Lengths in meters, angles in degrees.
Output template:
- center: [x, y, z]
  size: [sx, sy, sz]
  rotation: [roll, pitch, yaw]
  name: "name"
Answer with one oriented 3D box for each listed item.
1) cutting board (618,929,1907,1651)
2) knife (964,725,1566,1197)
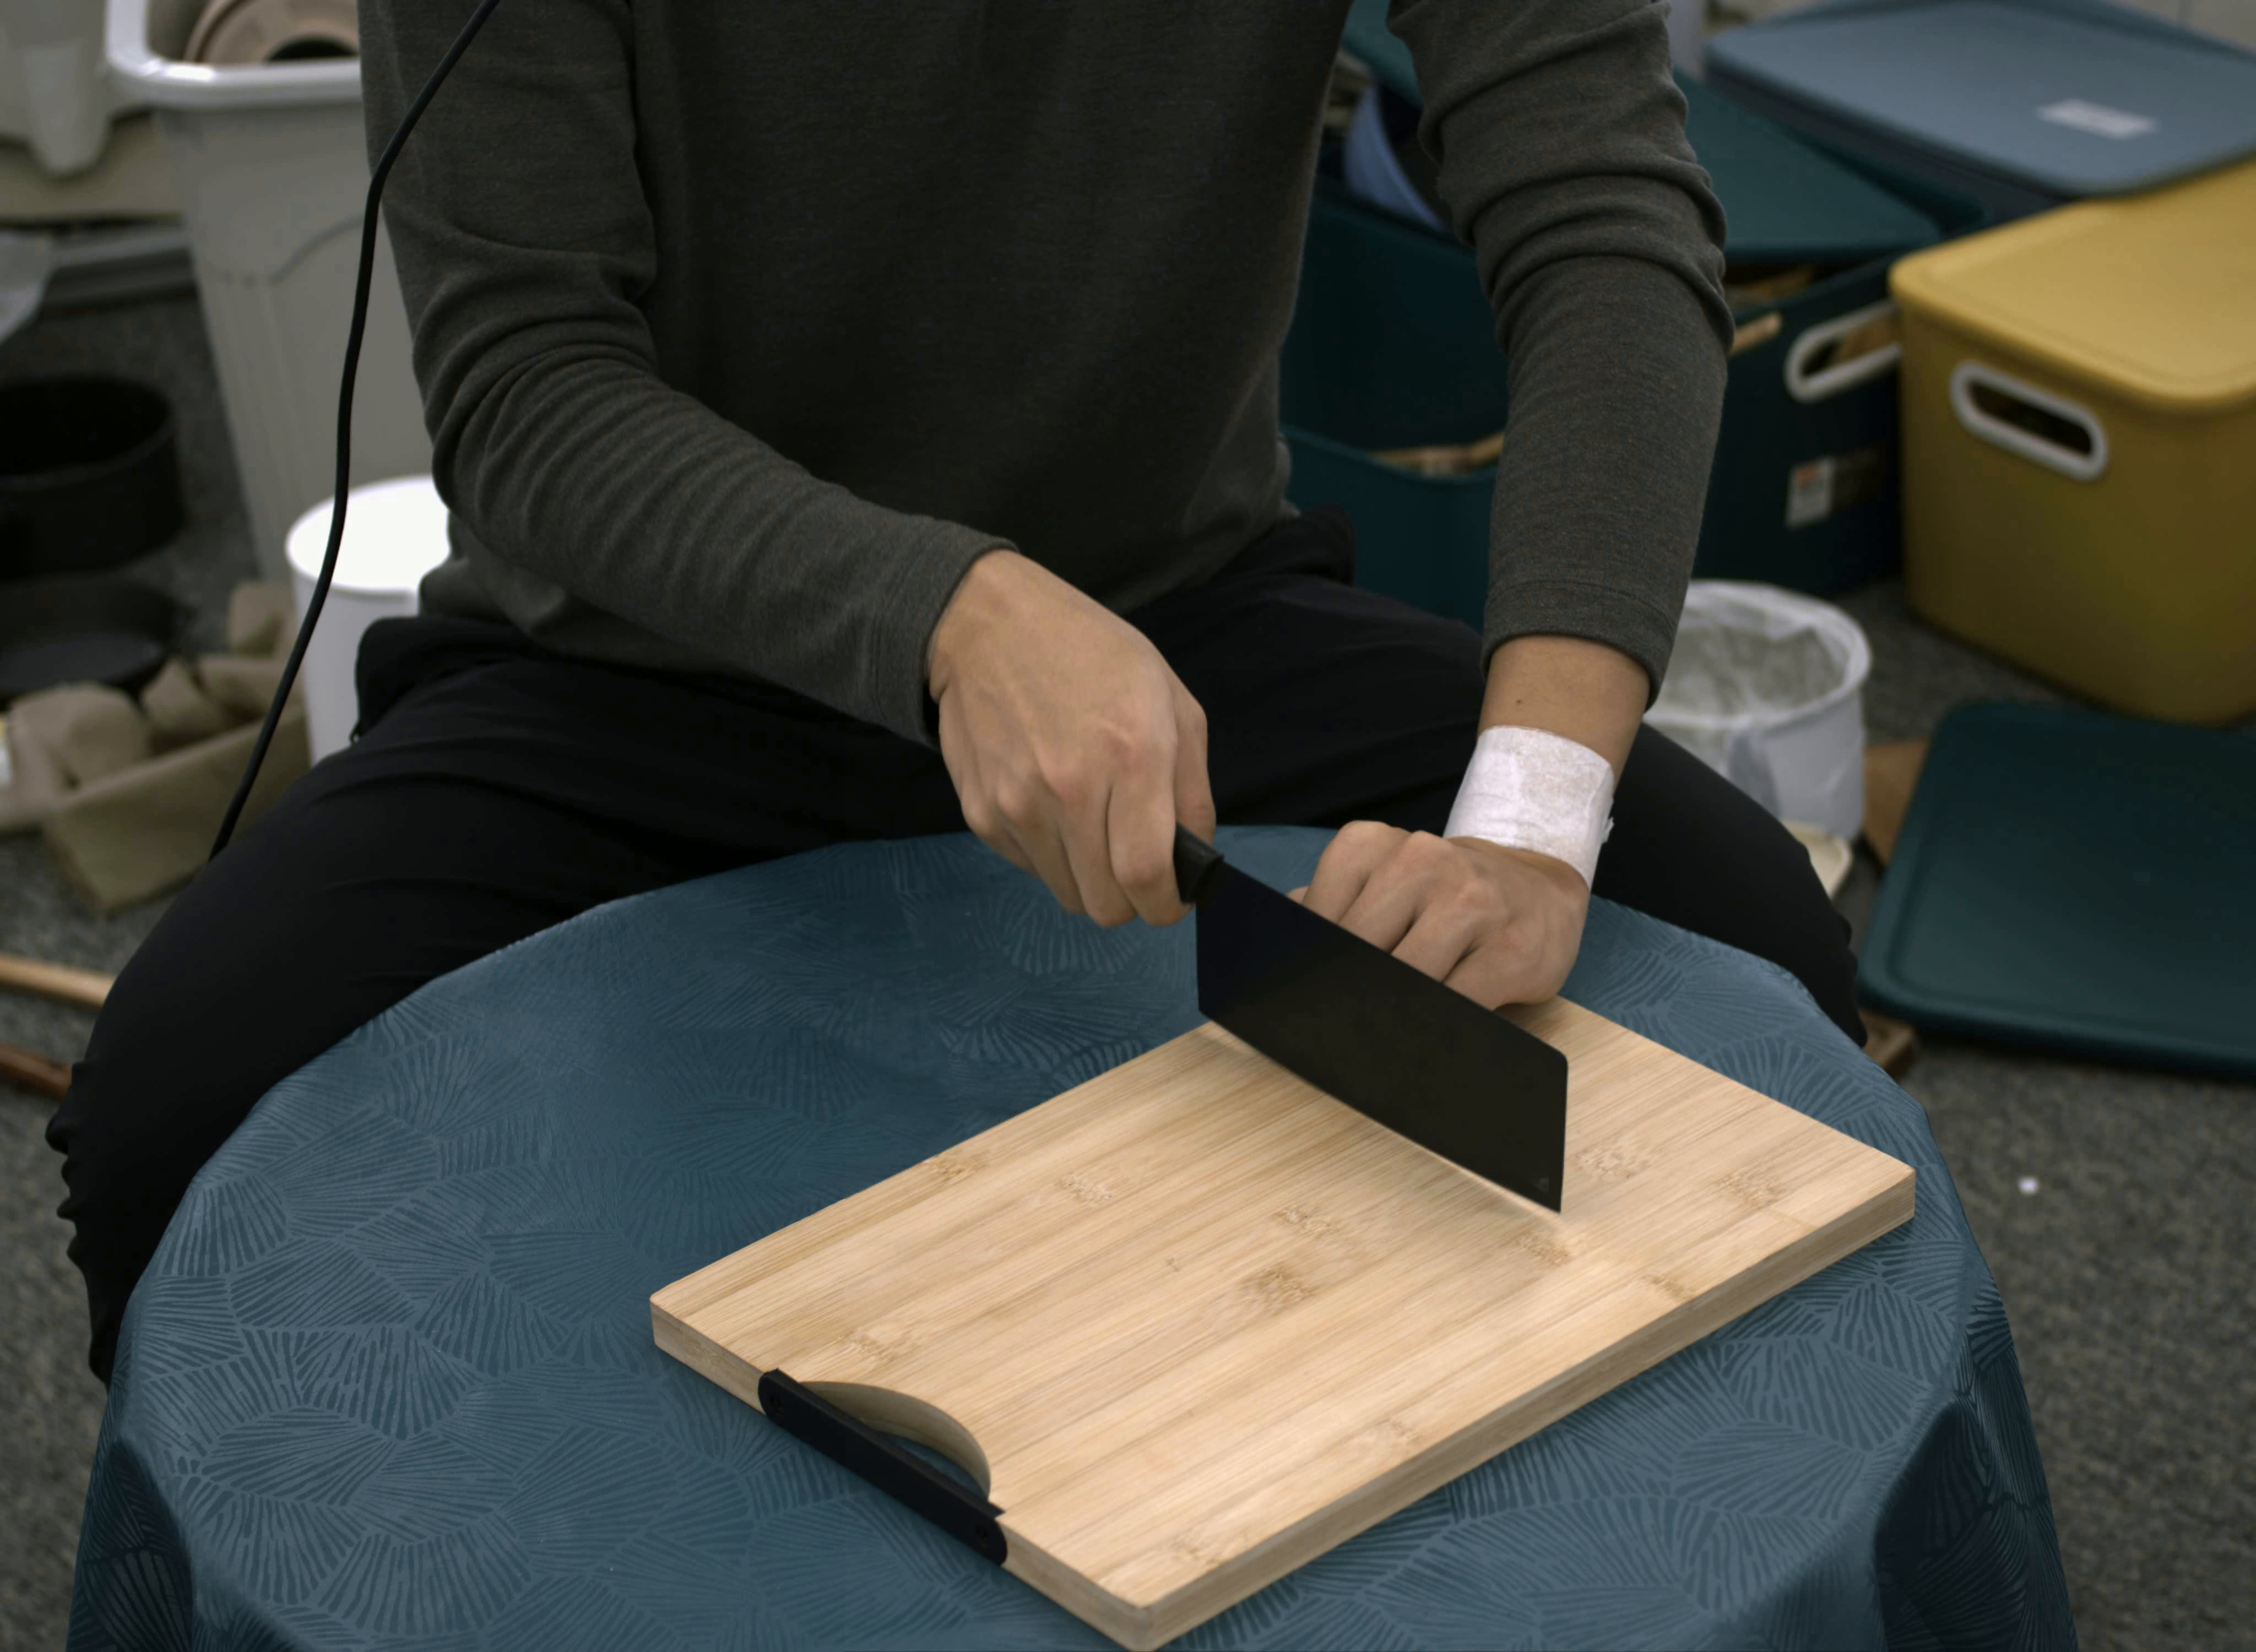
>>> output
- center: [0.047, 0.141, 1.803]
  size: [0.352, 0.023, 0.250]
  rotation: [-24, 34, -36]
  name: "cutting board"
- center: [0.043, 0.039, 1.883]
  size: [0.021, 0.080, 0.303]
  rotation: [-20, 37, -35]
  name: "knife"
